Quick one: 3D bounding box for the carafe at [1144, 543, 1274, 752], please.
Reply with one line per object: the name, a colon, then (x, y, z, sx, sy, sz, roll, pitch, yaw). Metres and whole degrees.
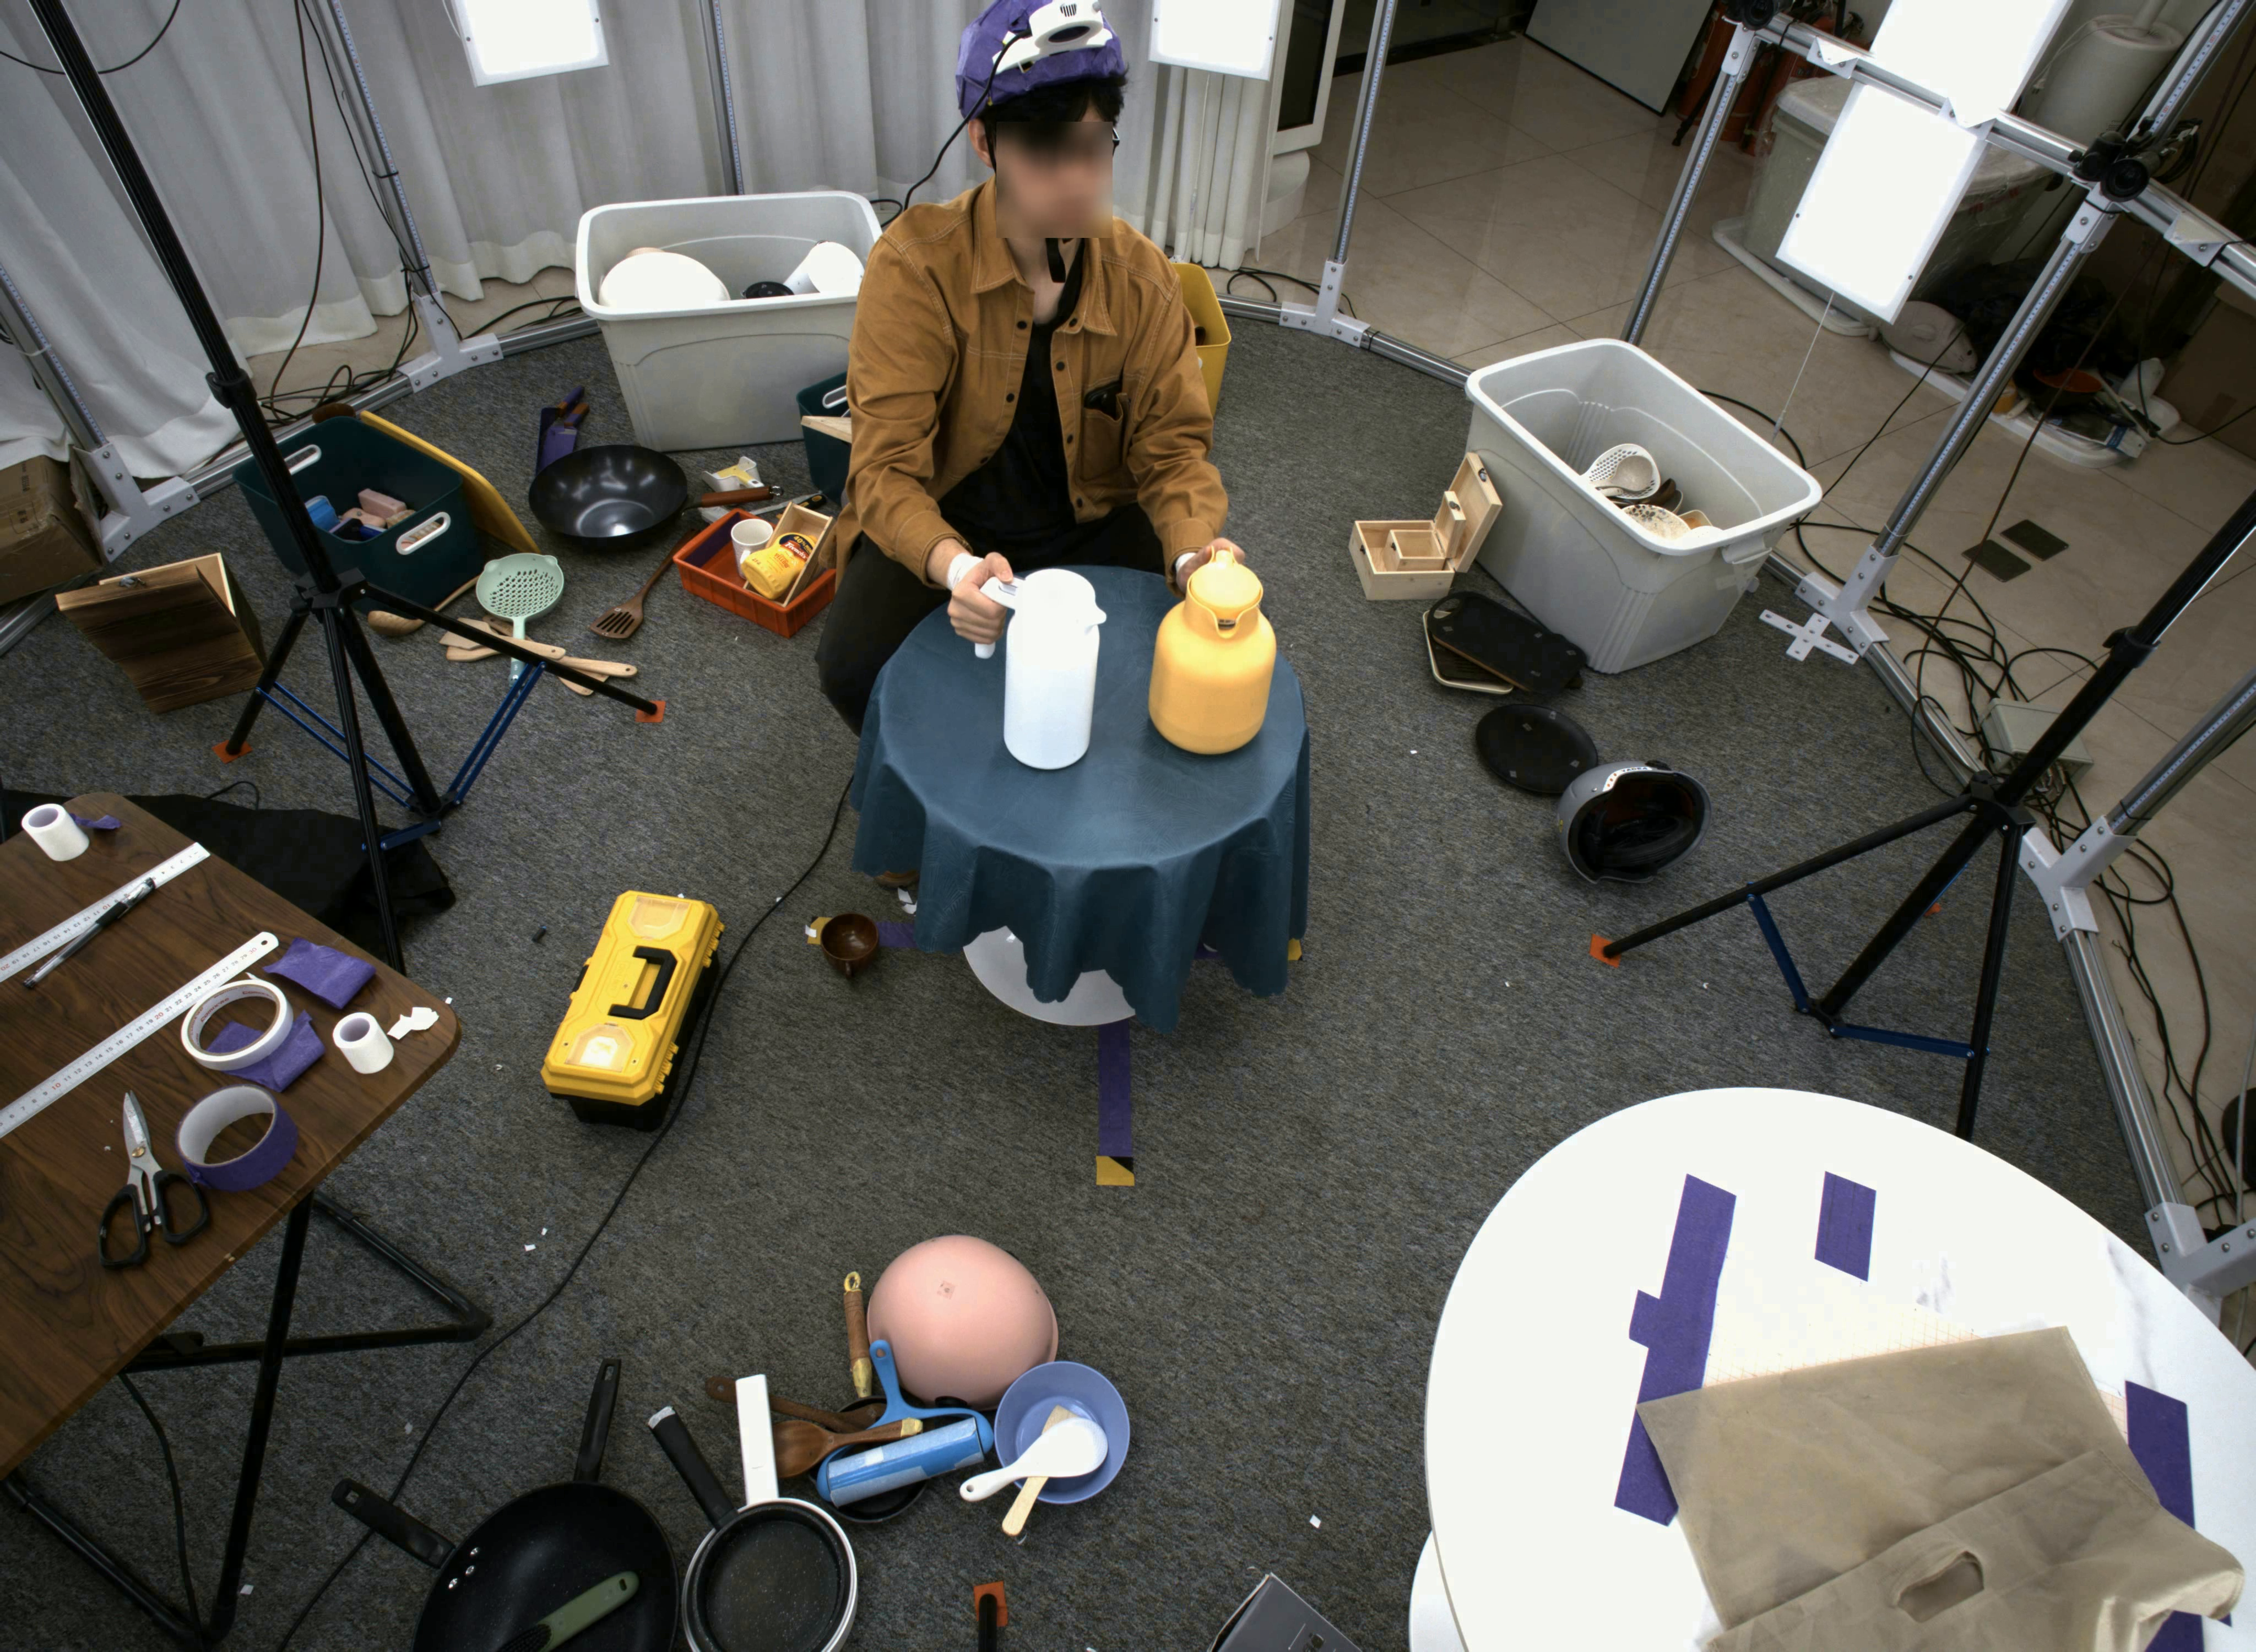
carafe: (0.115, -0.246, 1.719, 0.163, 0.254, 0.207, 7, 51, -2)

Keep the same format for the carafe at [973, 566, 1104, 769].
carafe: (-0.118, -0.205, 1.665, 0.173, 0.262, 0.126, 21, 54, 12)
